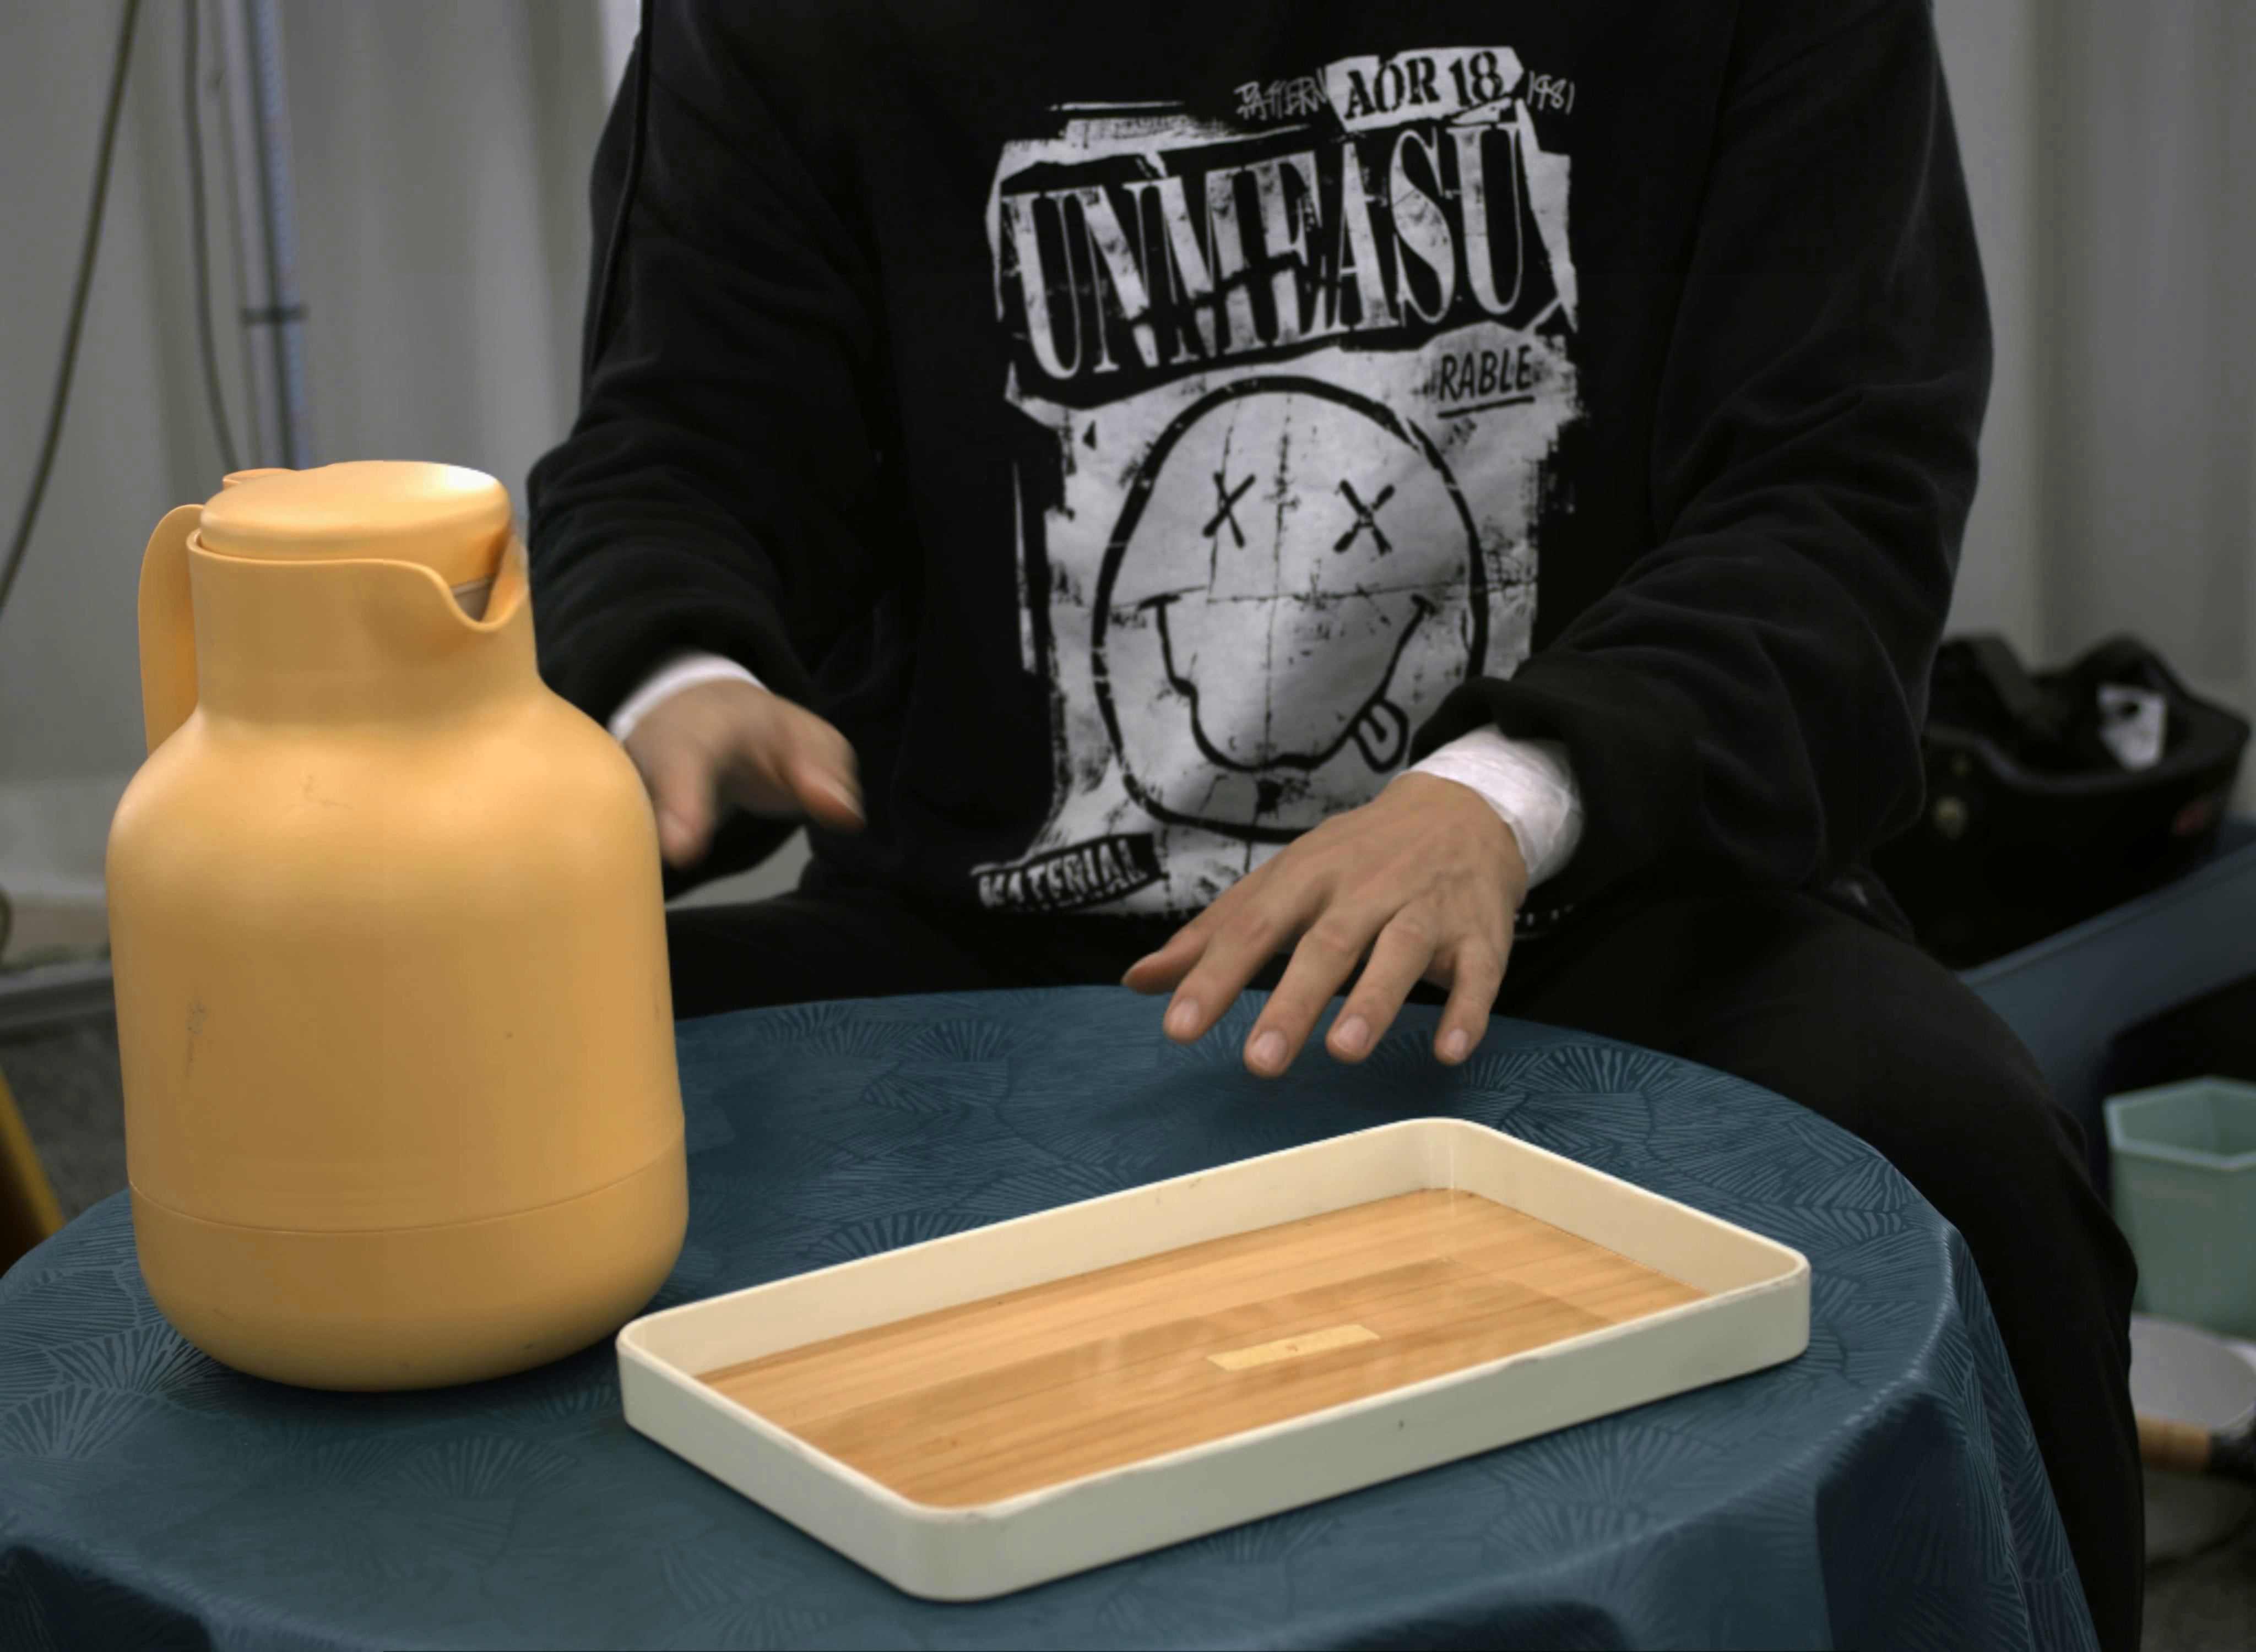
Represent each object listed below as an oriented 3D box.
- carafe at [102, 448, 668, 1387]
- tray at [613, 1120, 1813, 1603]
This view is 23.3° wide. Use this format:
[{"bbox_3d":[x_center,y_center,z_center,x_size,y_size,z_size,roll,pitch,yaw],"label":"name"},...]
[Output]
[{"bbox_3d":[-0.227,0.018,1.611,0.163,0.259,0.204,-8,17,-33],"label":"carafe"},{"bbox_3d":[0.025,0.146,1.542,0.299,0.027,0.193,-12,17,-31],"label":"tray"}]
